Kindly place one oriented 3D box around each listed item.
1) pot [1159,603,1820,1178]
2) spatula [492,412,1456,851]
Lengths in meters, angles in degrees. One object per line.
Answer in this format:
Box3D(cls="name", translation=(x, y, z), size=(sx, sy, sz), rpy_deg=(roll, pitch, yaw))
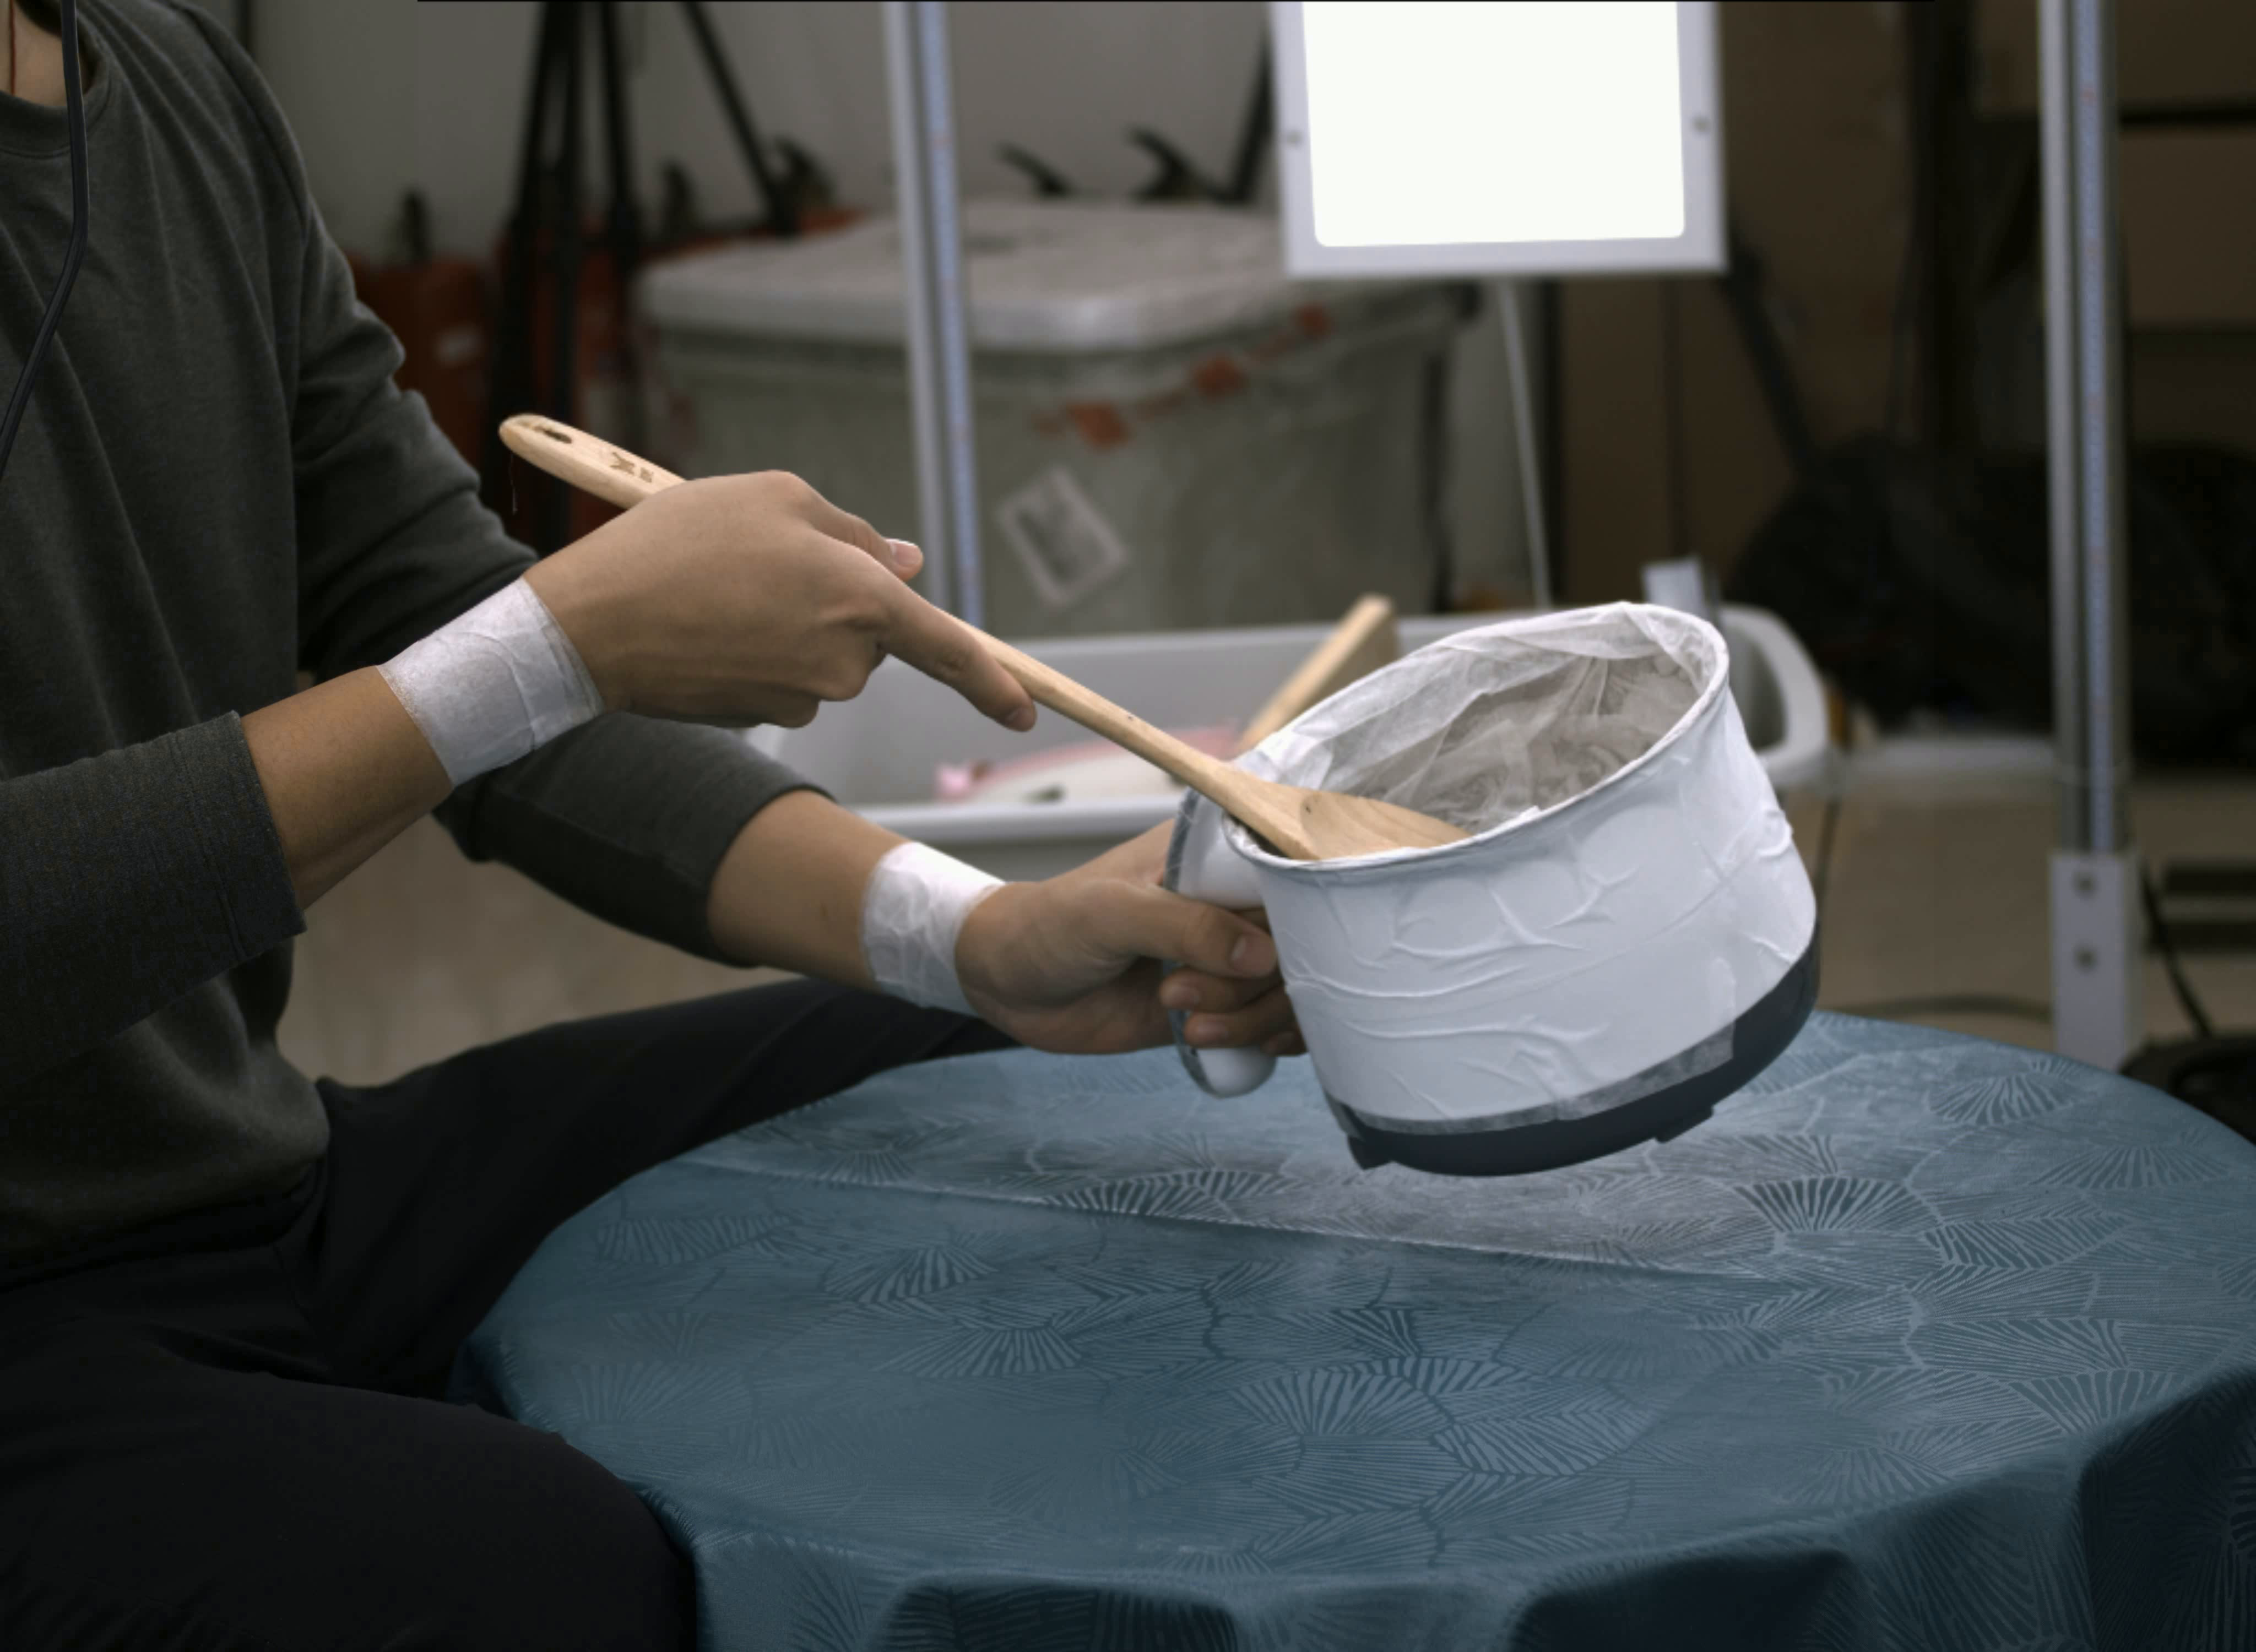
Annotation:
Box3D(cls="pot", translation=(0.110, 0.028, 1.838), size=(0.238, 0.136, 0.175), rpy_deg=(-10, 23, 29))
Box3D(cls="spatula", translation=(-0.031, -0.046, 1.798), size=(0.387, 0.019, 0.095), rpy_deg=(27, 20, -11))
